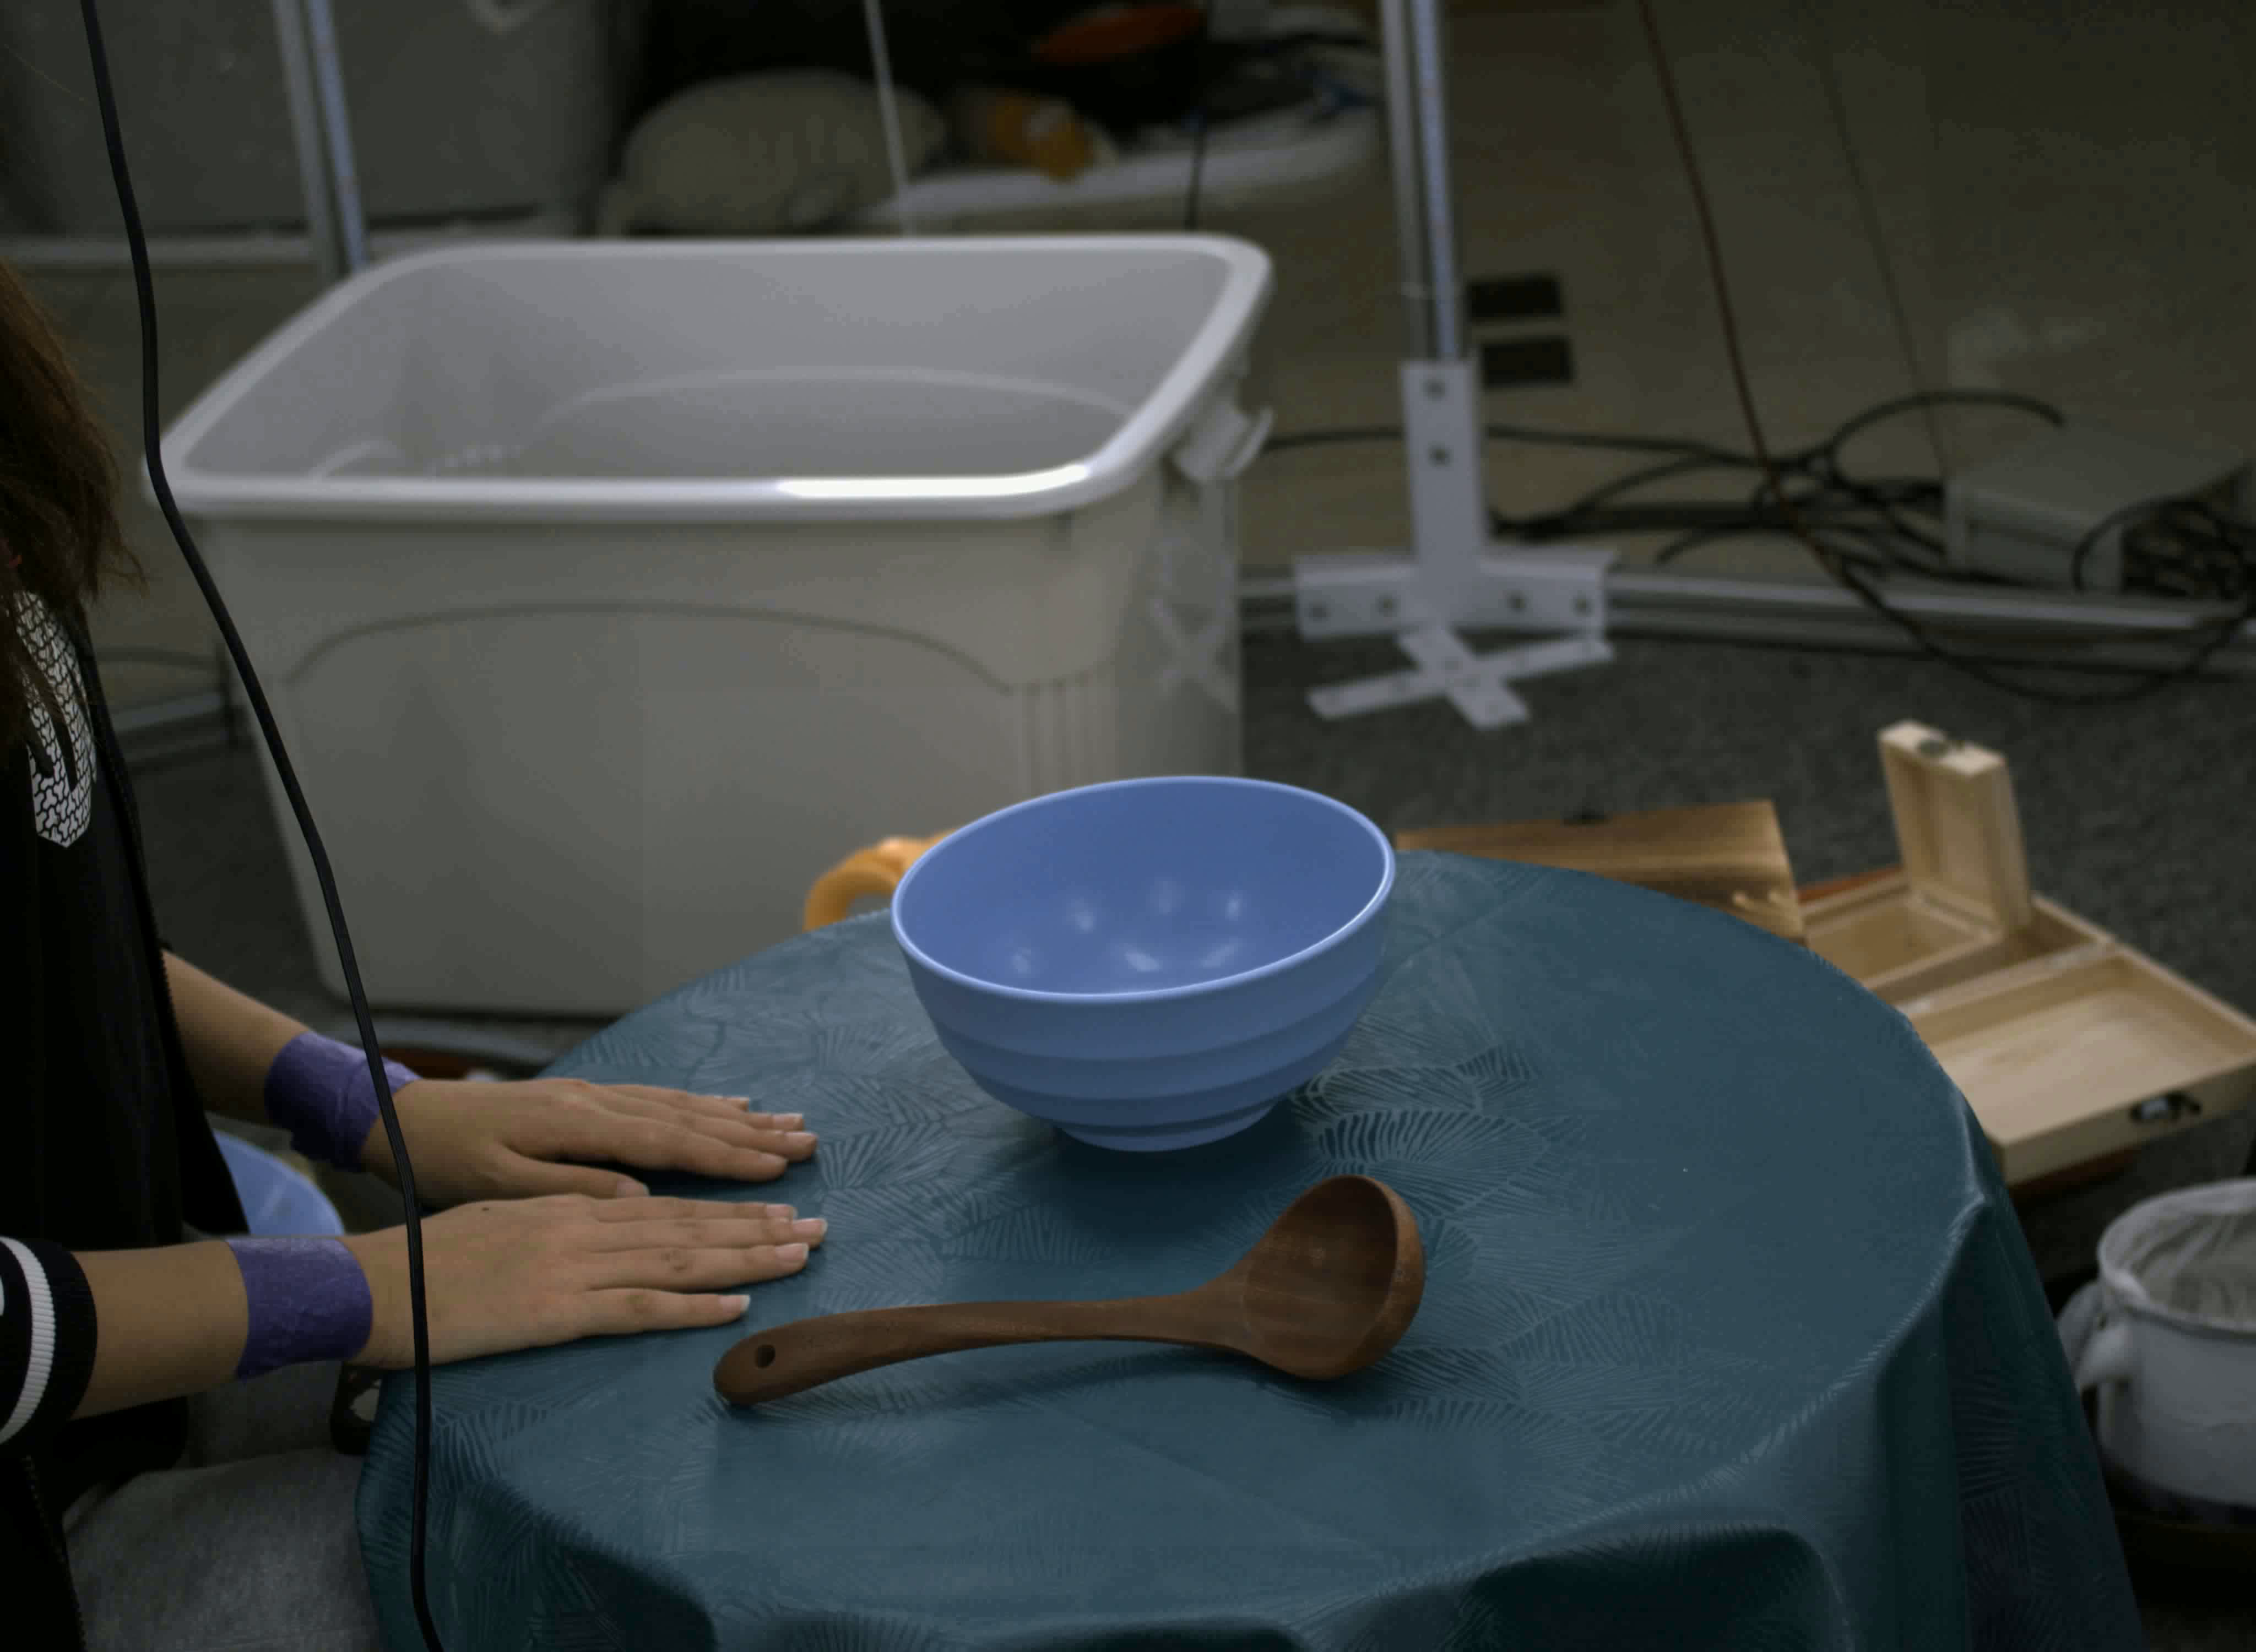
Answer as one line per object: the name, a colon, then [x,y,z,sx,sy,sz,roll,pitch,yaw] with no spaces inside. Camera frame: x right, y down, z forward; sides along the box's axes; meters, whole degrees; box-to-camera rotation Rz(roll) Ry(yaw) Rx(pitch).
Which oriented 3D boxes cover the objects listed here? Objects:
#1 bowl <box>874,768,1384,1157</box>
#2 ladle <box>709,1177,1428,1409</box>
bowl: [0.002,0.064,2.197,0.196,0.097,0.193,-2,30,1]
ladle: [-0.023,0.171,2.013,0.260,0.066,0.075,-5,53,2]
